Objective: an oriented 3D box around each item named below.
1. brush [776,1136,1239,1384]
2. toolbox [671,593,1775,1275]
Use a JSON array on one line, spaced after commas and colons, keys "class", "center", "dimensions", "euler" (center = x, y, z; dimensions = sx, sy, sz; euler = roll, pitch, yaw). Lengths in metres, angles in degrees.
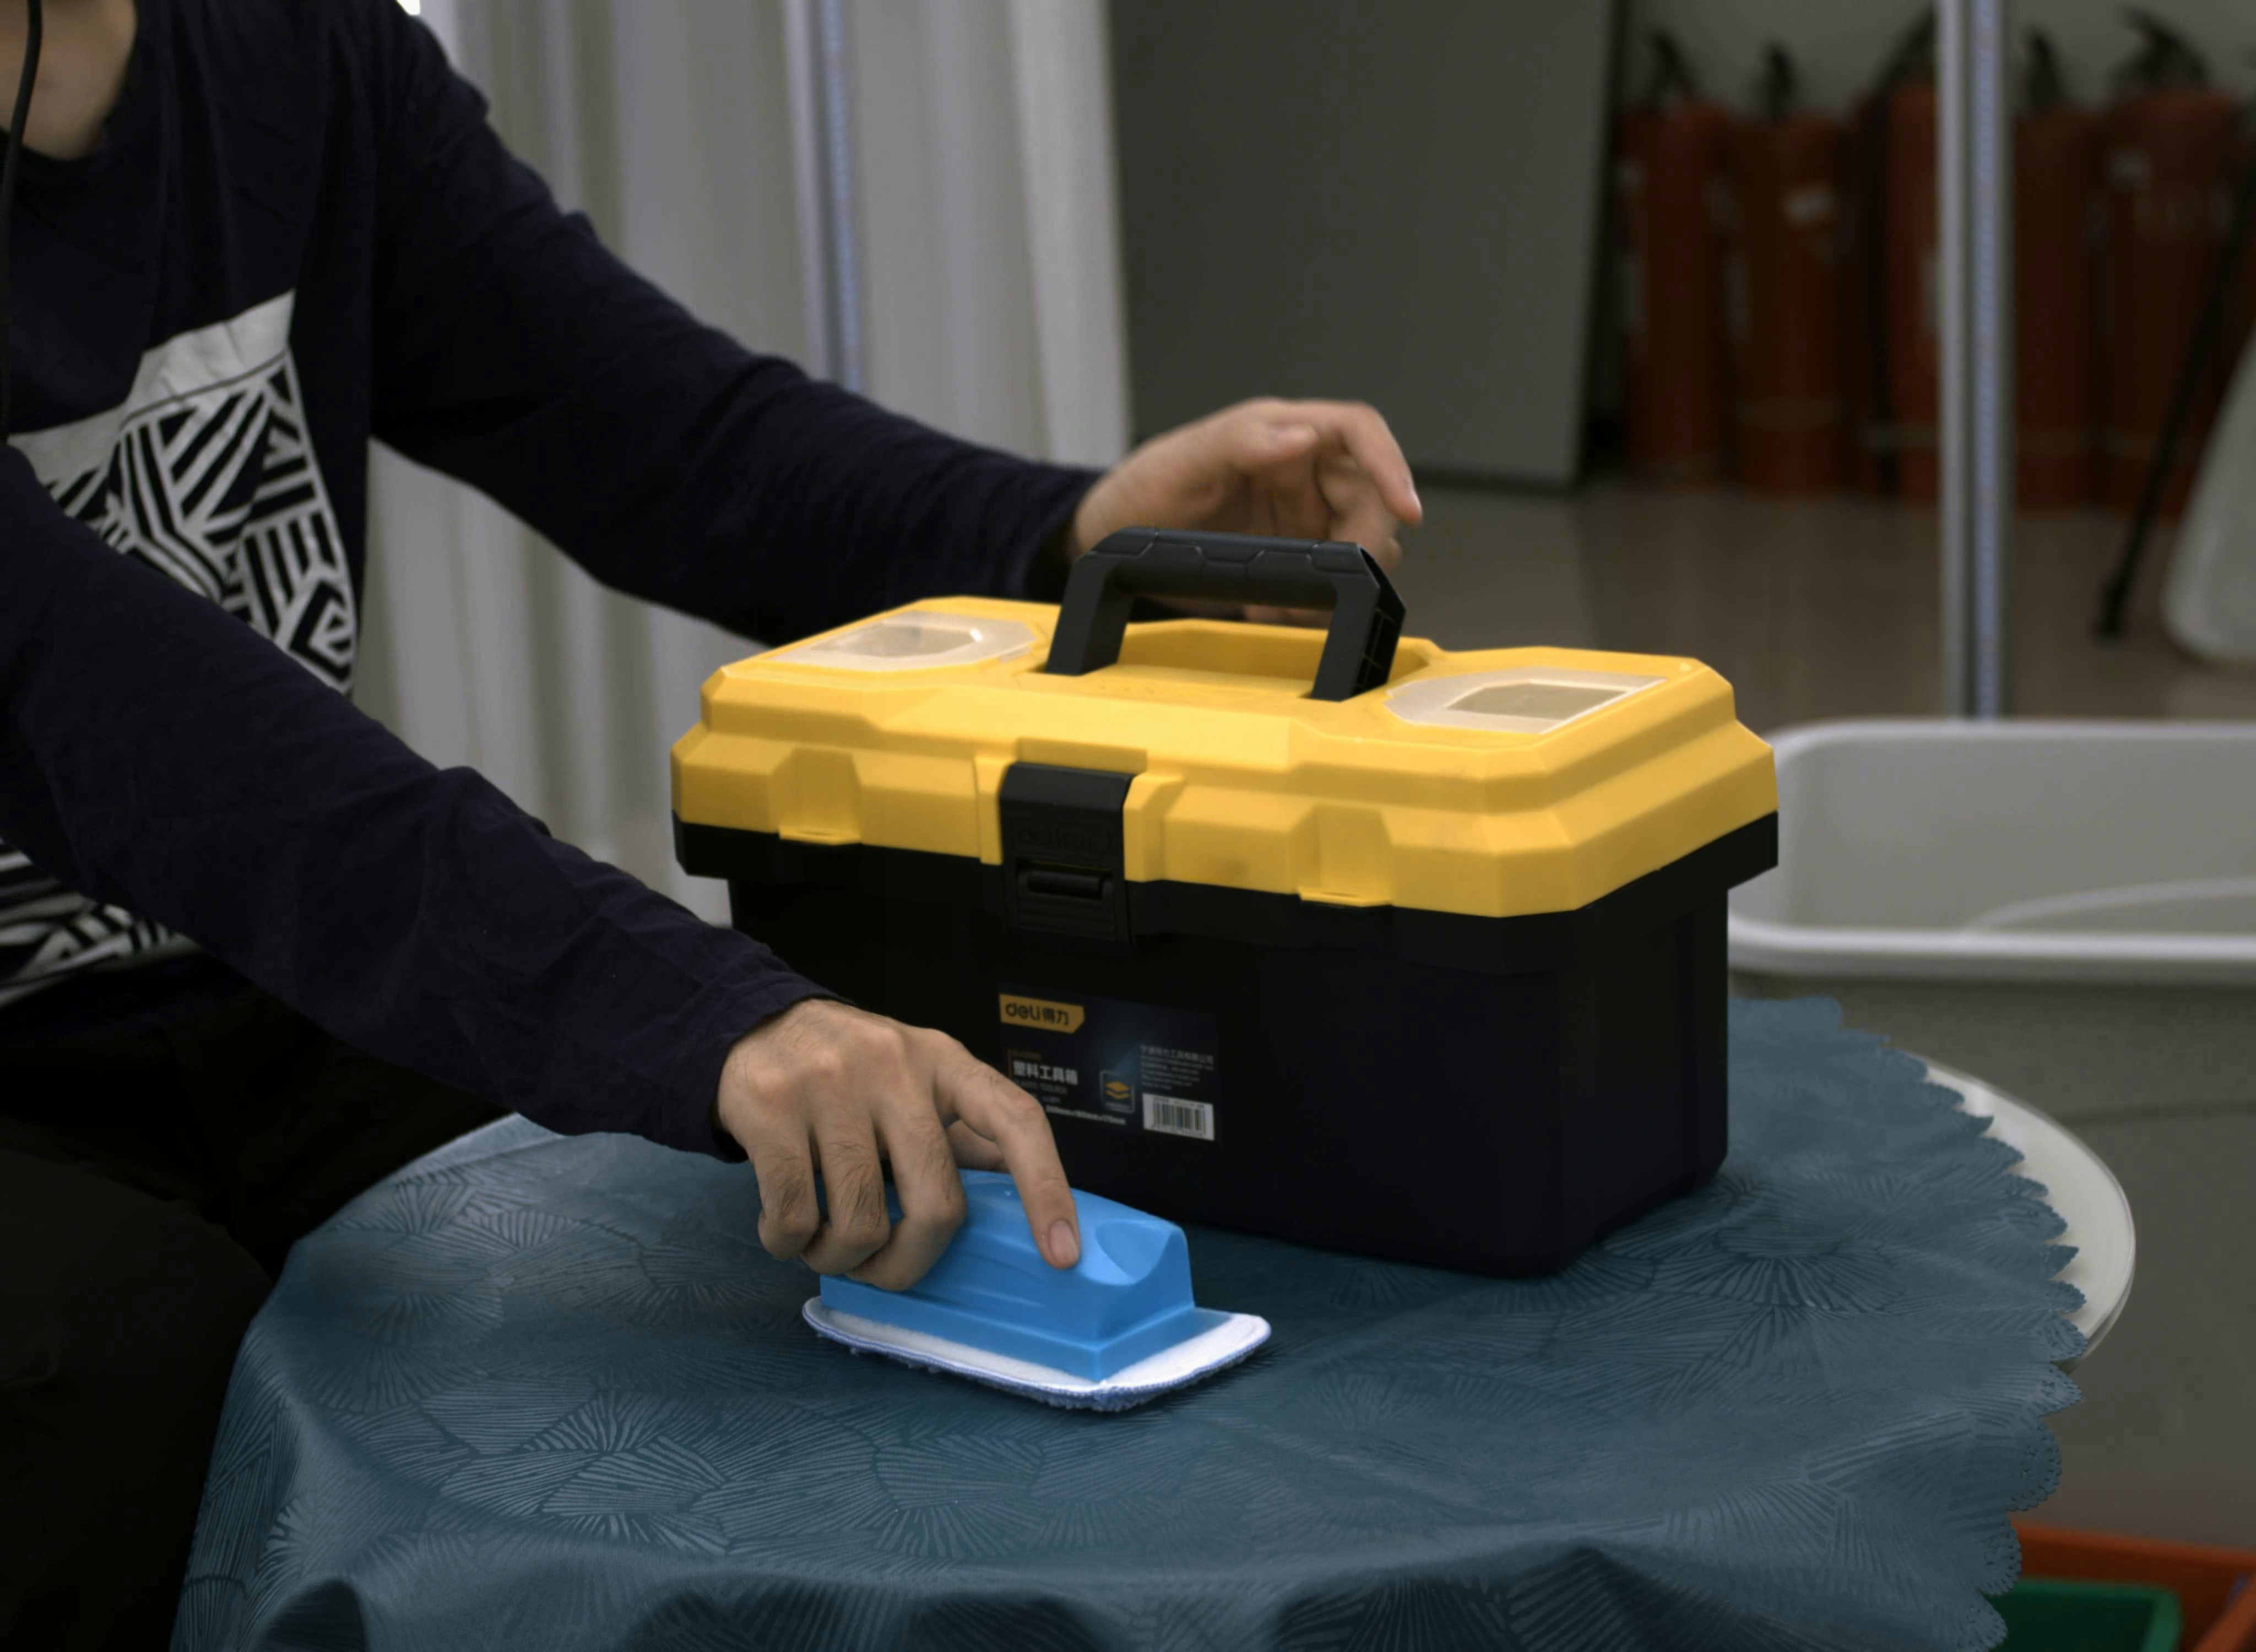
[{"class": "brush", "center": [-0.036, 0.129, 1.626], "dimensions": [0.082, 0.056, 0.145], "euler": [-13, 18, -42]}, {"class": "toolbox", "center": [0.028, 0.030, 1.770], "dimensions": [0.353, 0.175, 0.178], "euler": [6, 16, 35]}]
